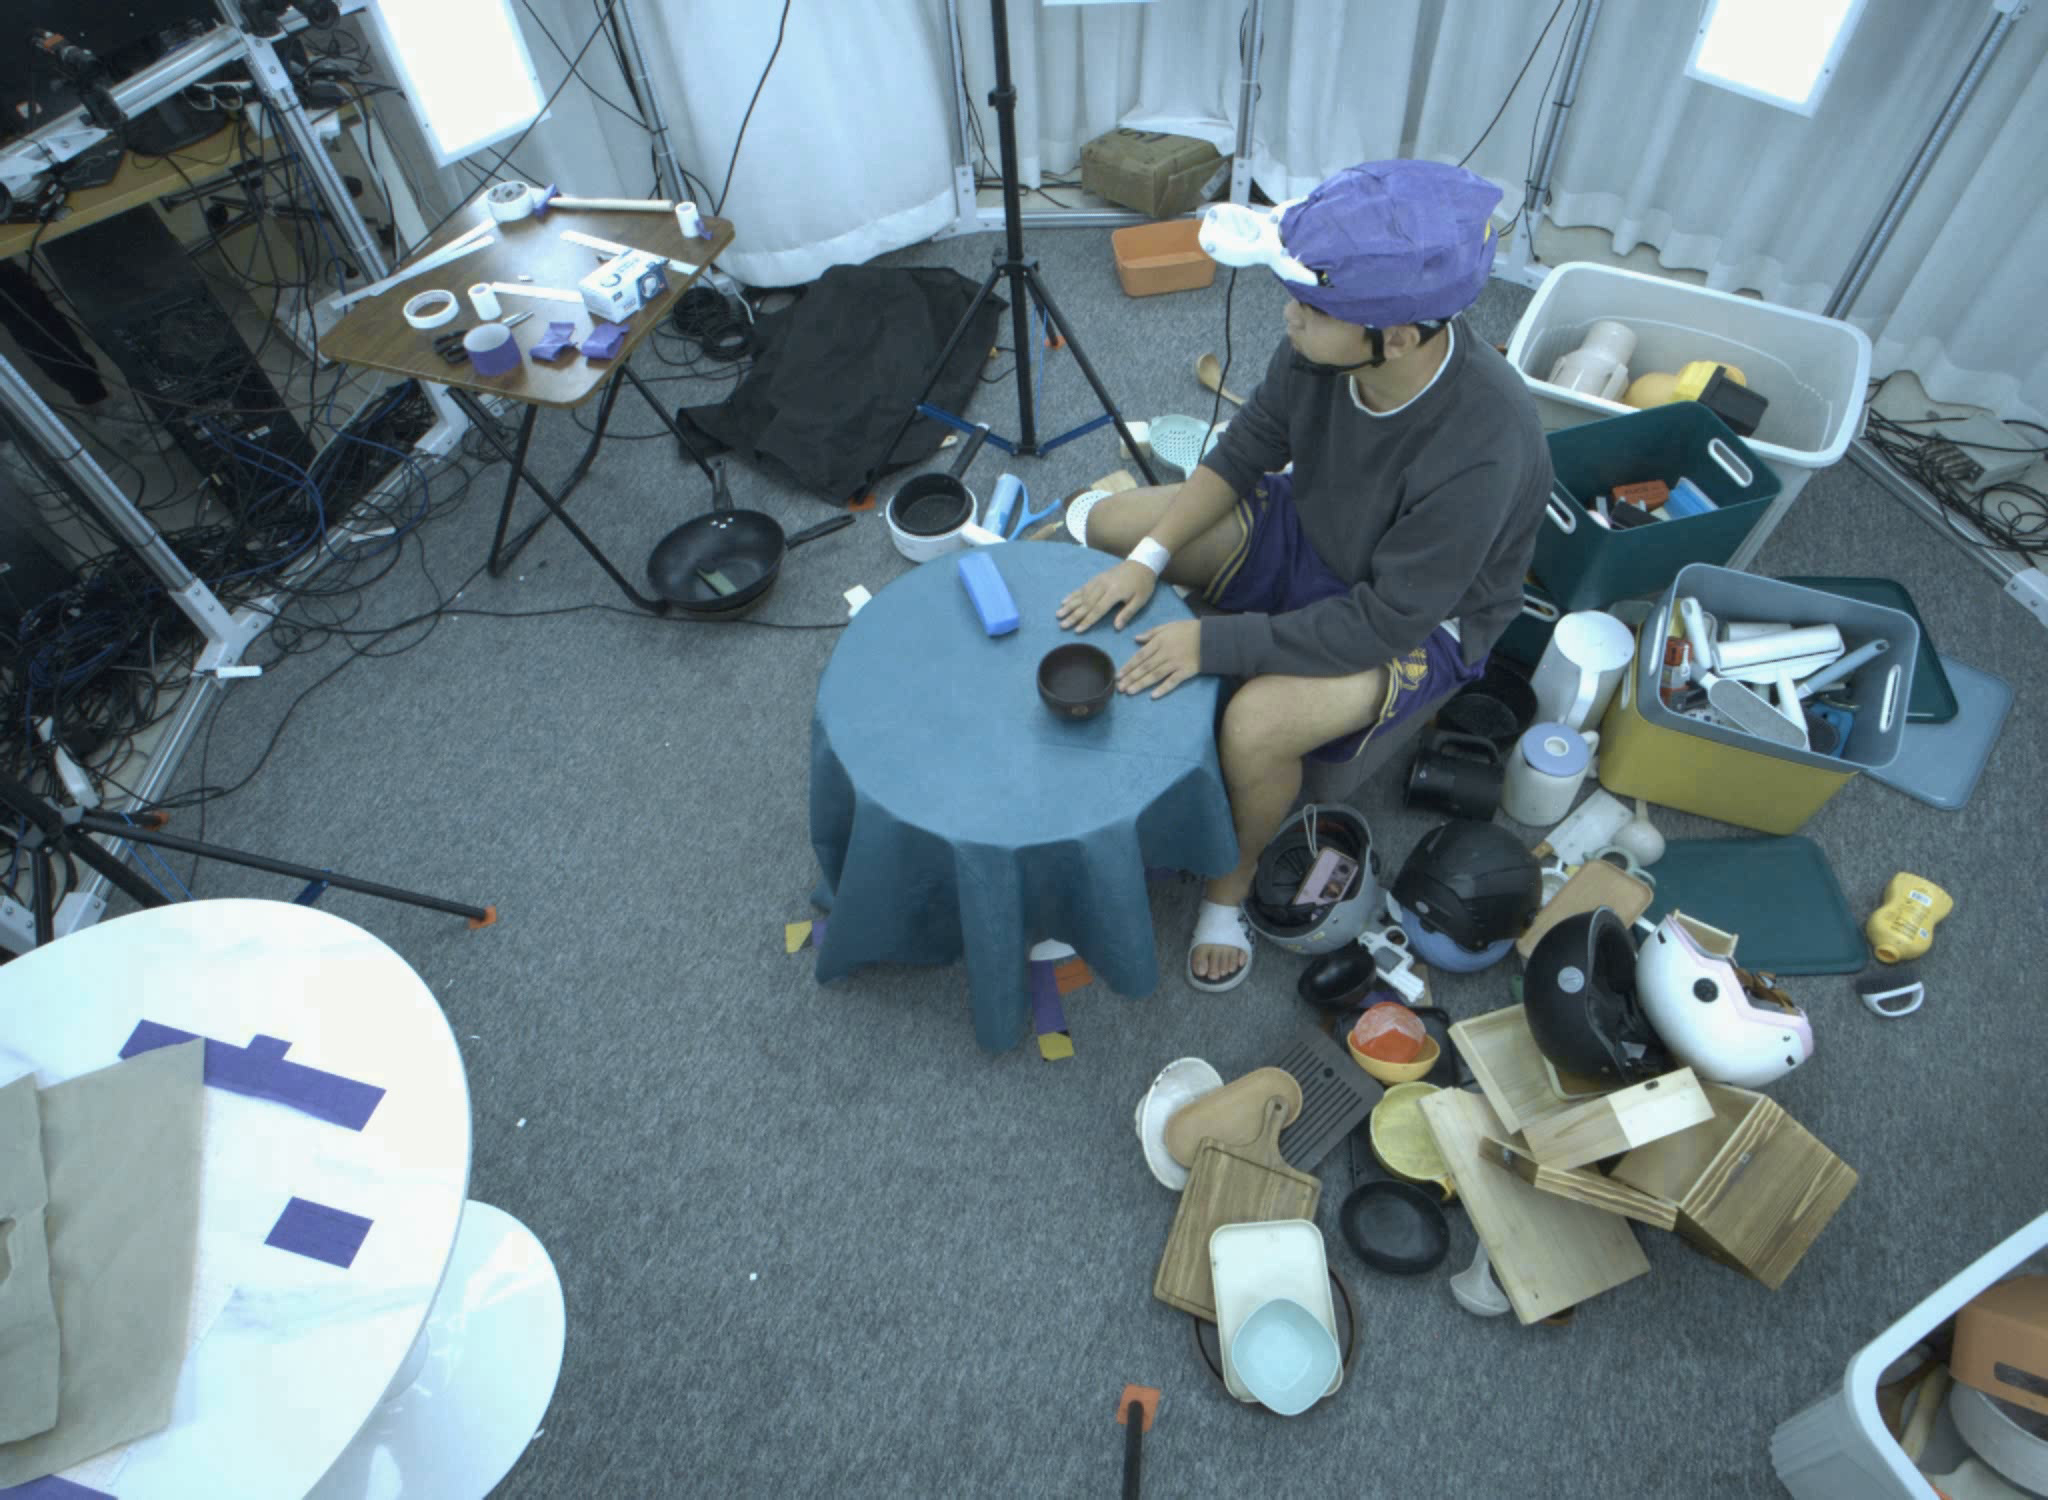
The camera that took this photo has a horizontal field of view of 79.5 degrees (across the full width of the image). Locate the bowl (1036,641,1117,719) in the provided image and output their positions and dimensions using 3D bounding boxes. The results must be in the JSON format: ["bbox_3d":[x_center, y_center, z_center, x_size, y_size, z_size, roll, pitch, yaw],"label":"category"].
[{"bbox_3d":[0.077,-0.095,1.809,0.118,0.070,0.117,-1,53,2],"label":"bowl"}]

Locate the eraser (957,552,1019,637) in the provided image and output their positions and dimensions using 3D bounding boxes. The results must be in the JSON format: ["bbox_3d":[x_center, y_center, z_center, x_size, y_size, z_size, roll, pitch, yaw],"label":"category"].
[{"bbox_3d":[-0.059,-0.253,1.943,0.054,0.048,0.159,-19,57,-9],"label":"eraser"}]
